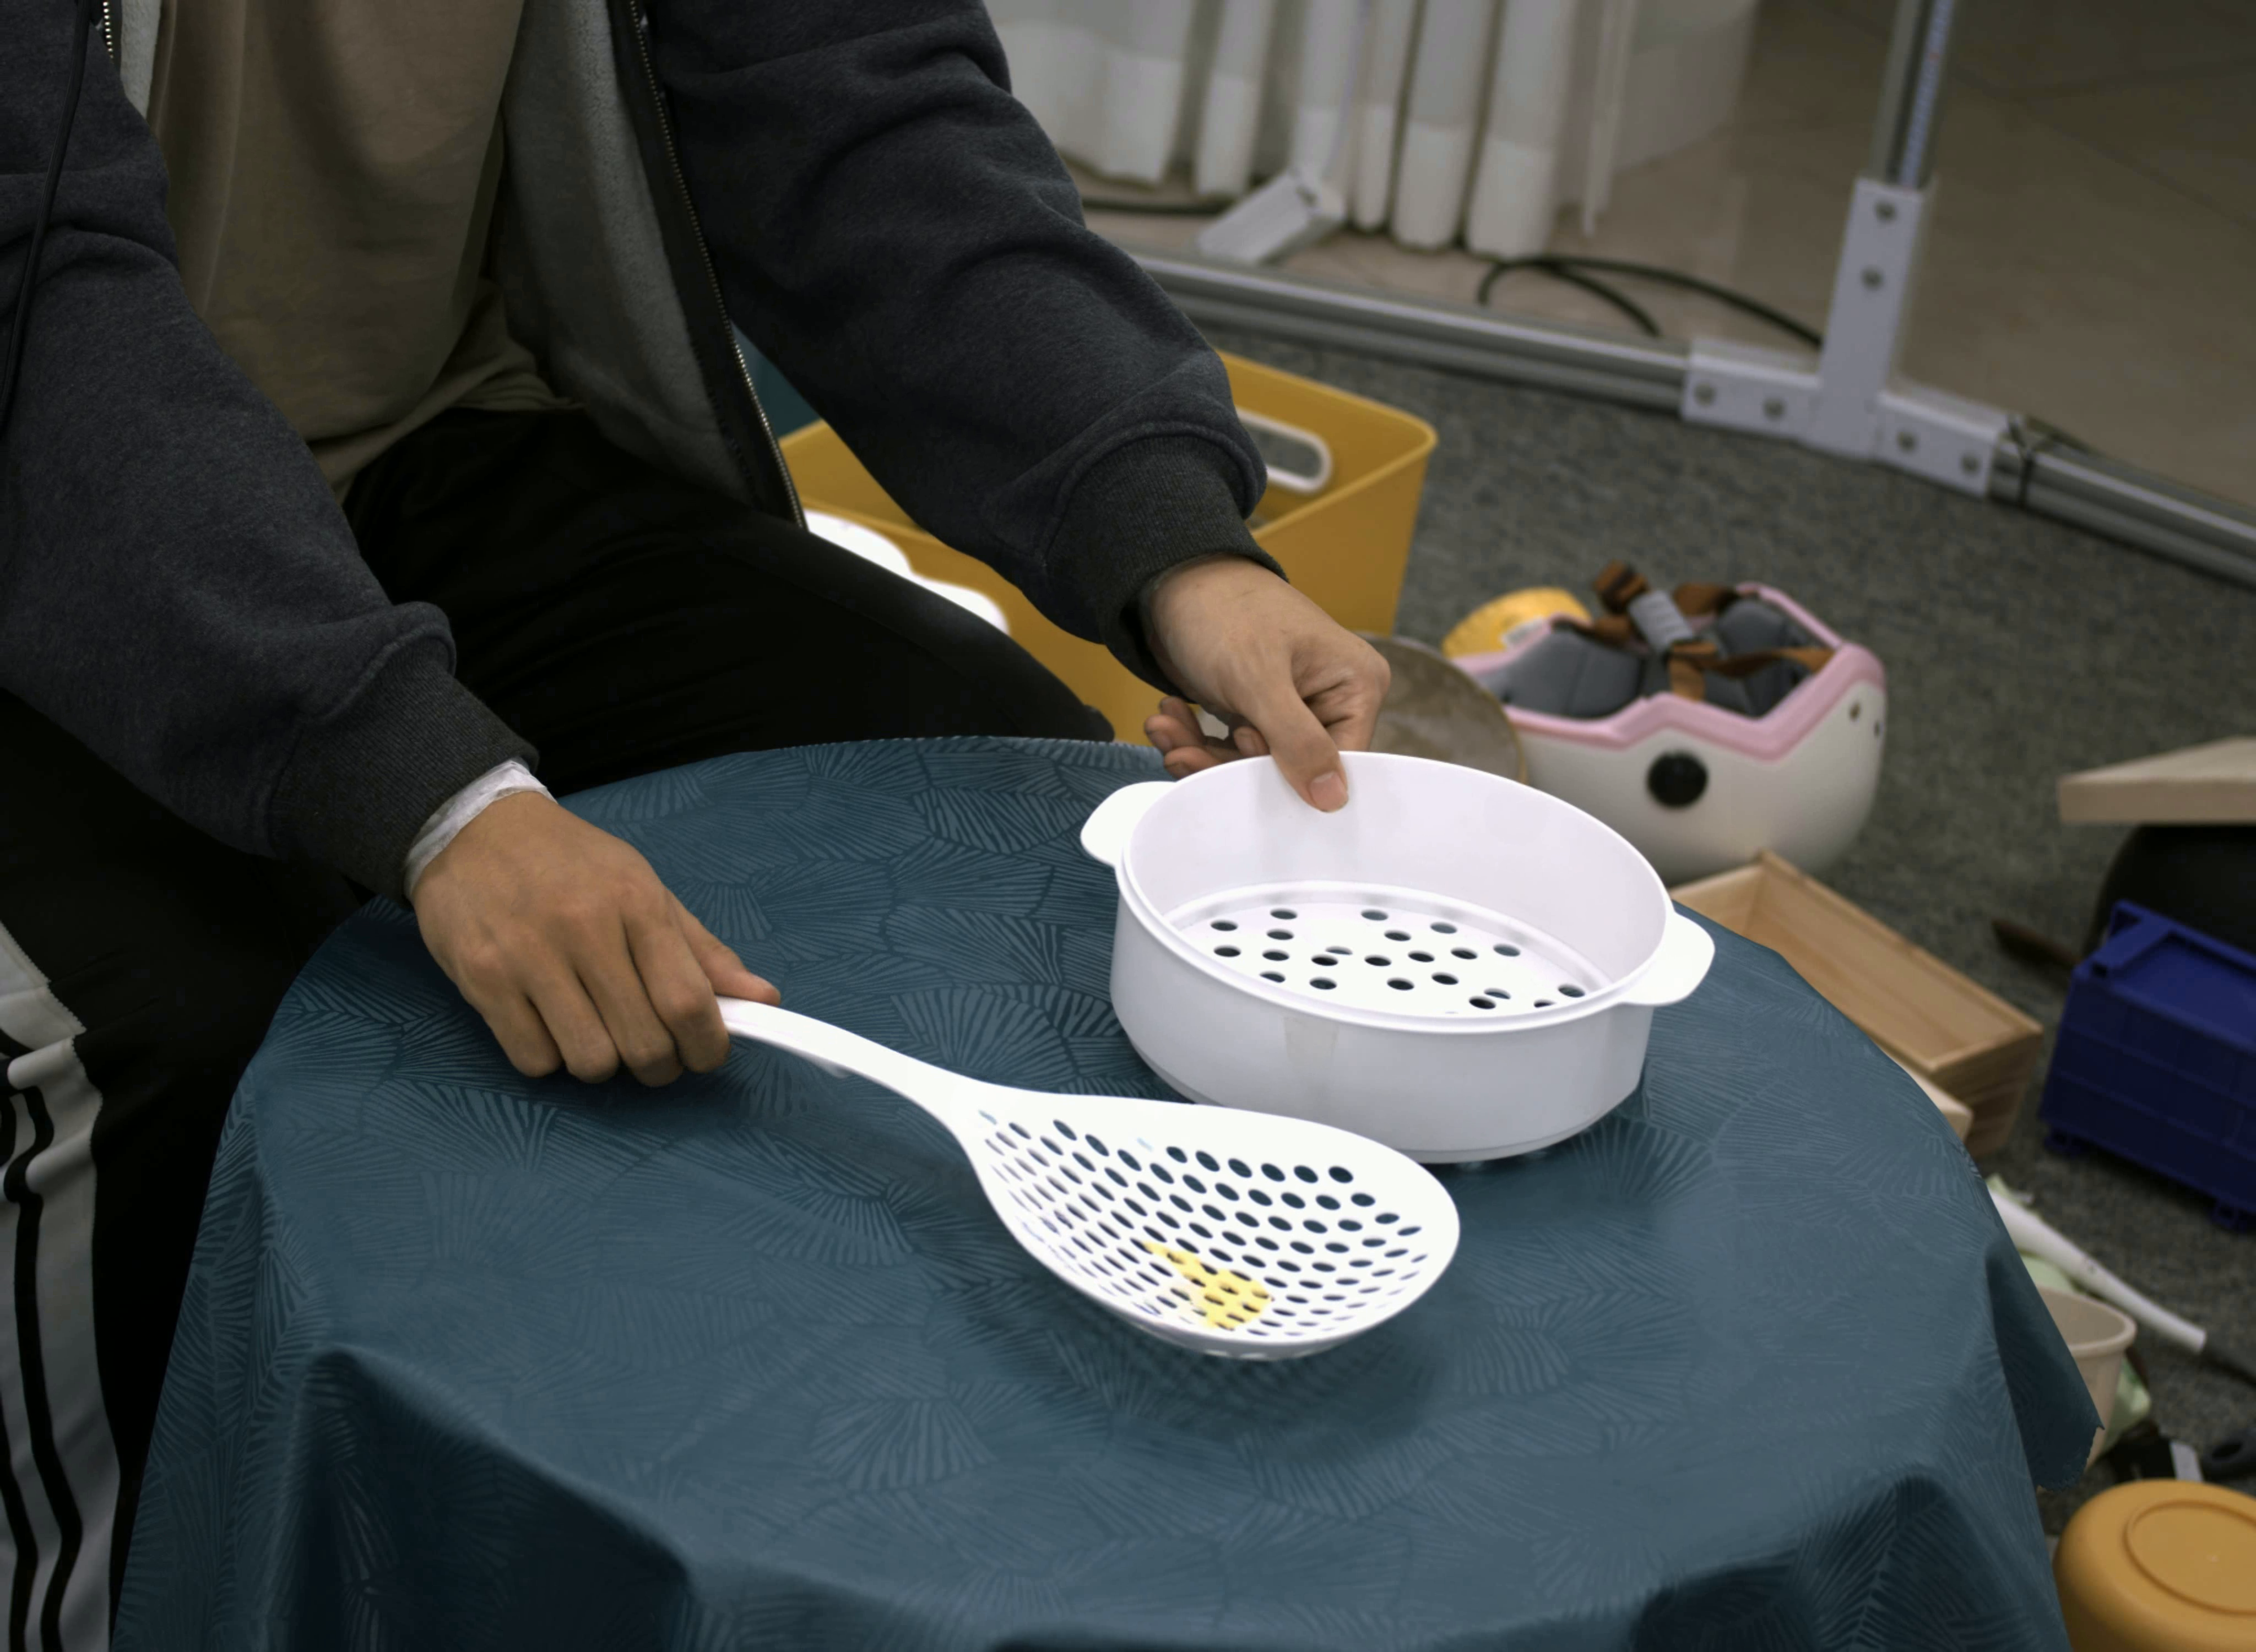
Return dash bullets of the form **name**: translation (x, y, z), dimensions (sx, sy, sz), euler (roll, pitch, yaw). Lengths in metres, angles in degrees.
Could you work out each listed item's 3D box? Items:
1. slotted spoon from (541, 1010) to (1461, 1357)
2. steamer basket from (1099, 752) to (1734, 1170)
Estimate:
- **slotted spoon**: translation (-0.053, 0.105, 1.779), dimensions (0.350, 0.050, 0.136), euler (22, 36, 27)
- **steamer basket**: translation (0.097, 0.048, 1.895), dimensions (0.231, 0.069, 0.202), euler (17, 29, 15)
